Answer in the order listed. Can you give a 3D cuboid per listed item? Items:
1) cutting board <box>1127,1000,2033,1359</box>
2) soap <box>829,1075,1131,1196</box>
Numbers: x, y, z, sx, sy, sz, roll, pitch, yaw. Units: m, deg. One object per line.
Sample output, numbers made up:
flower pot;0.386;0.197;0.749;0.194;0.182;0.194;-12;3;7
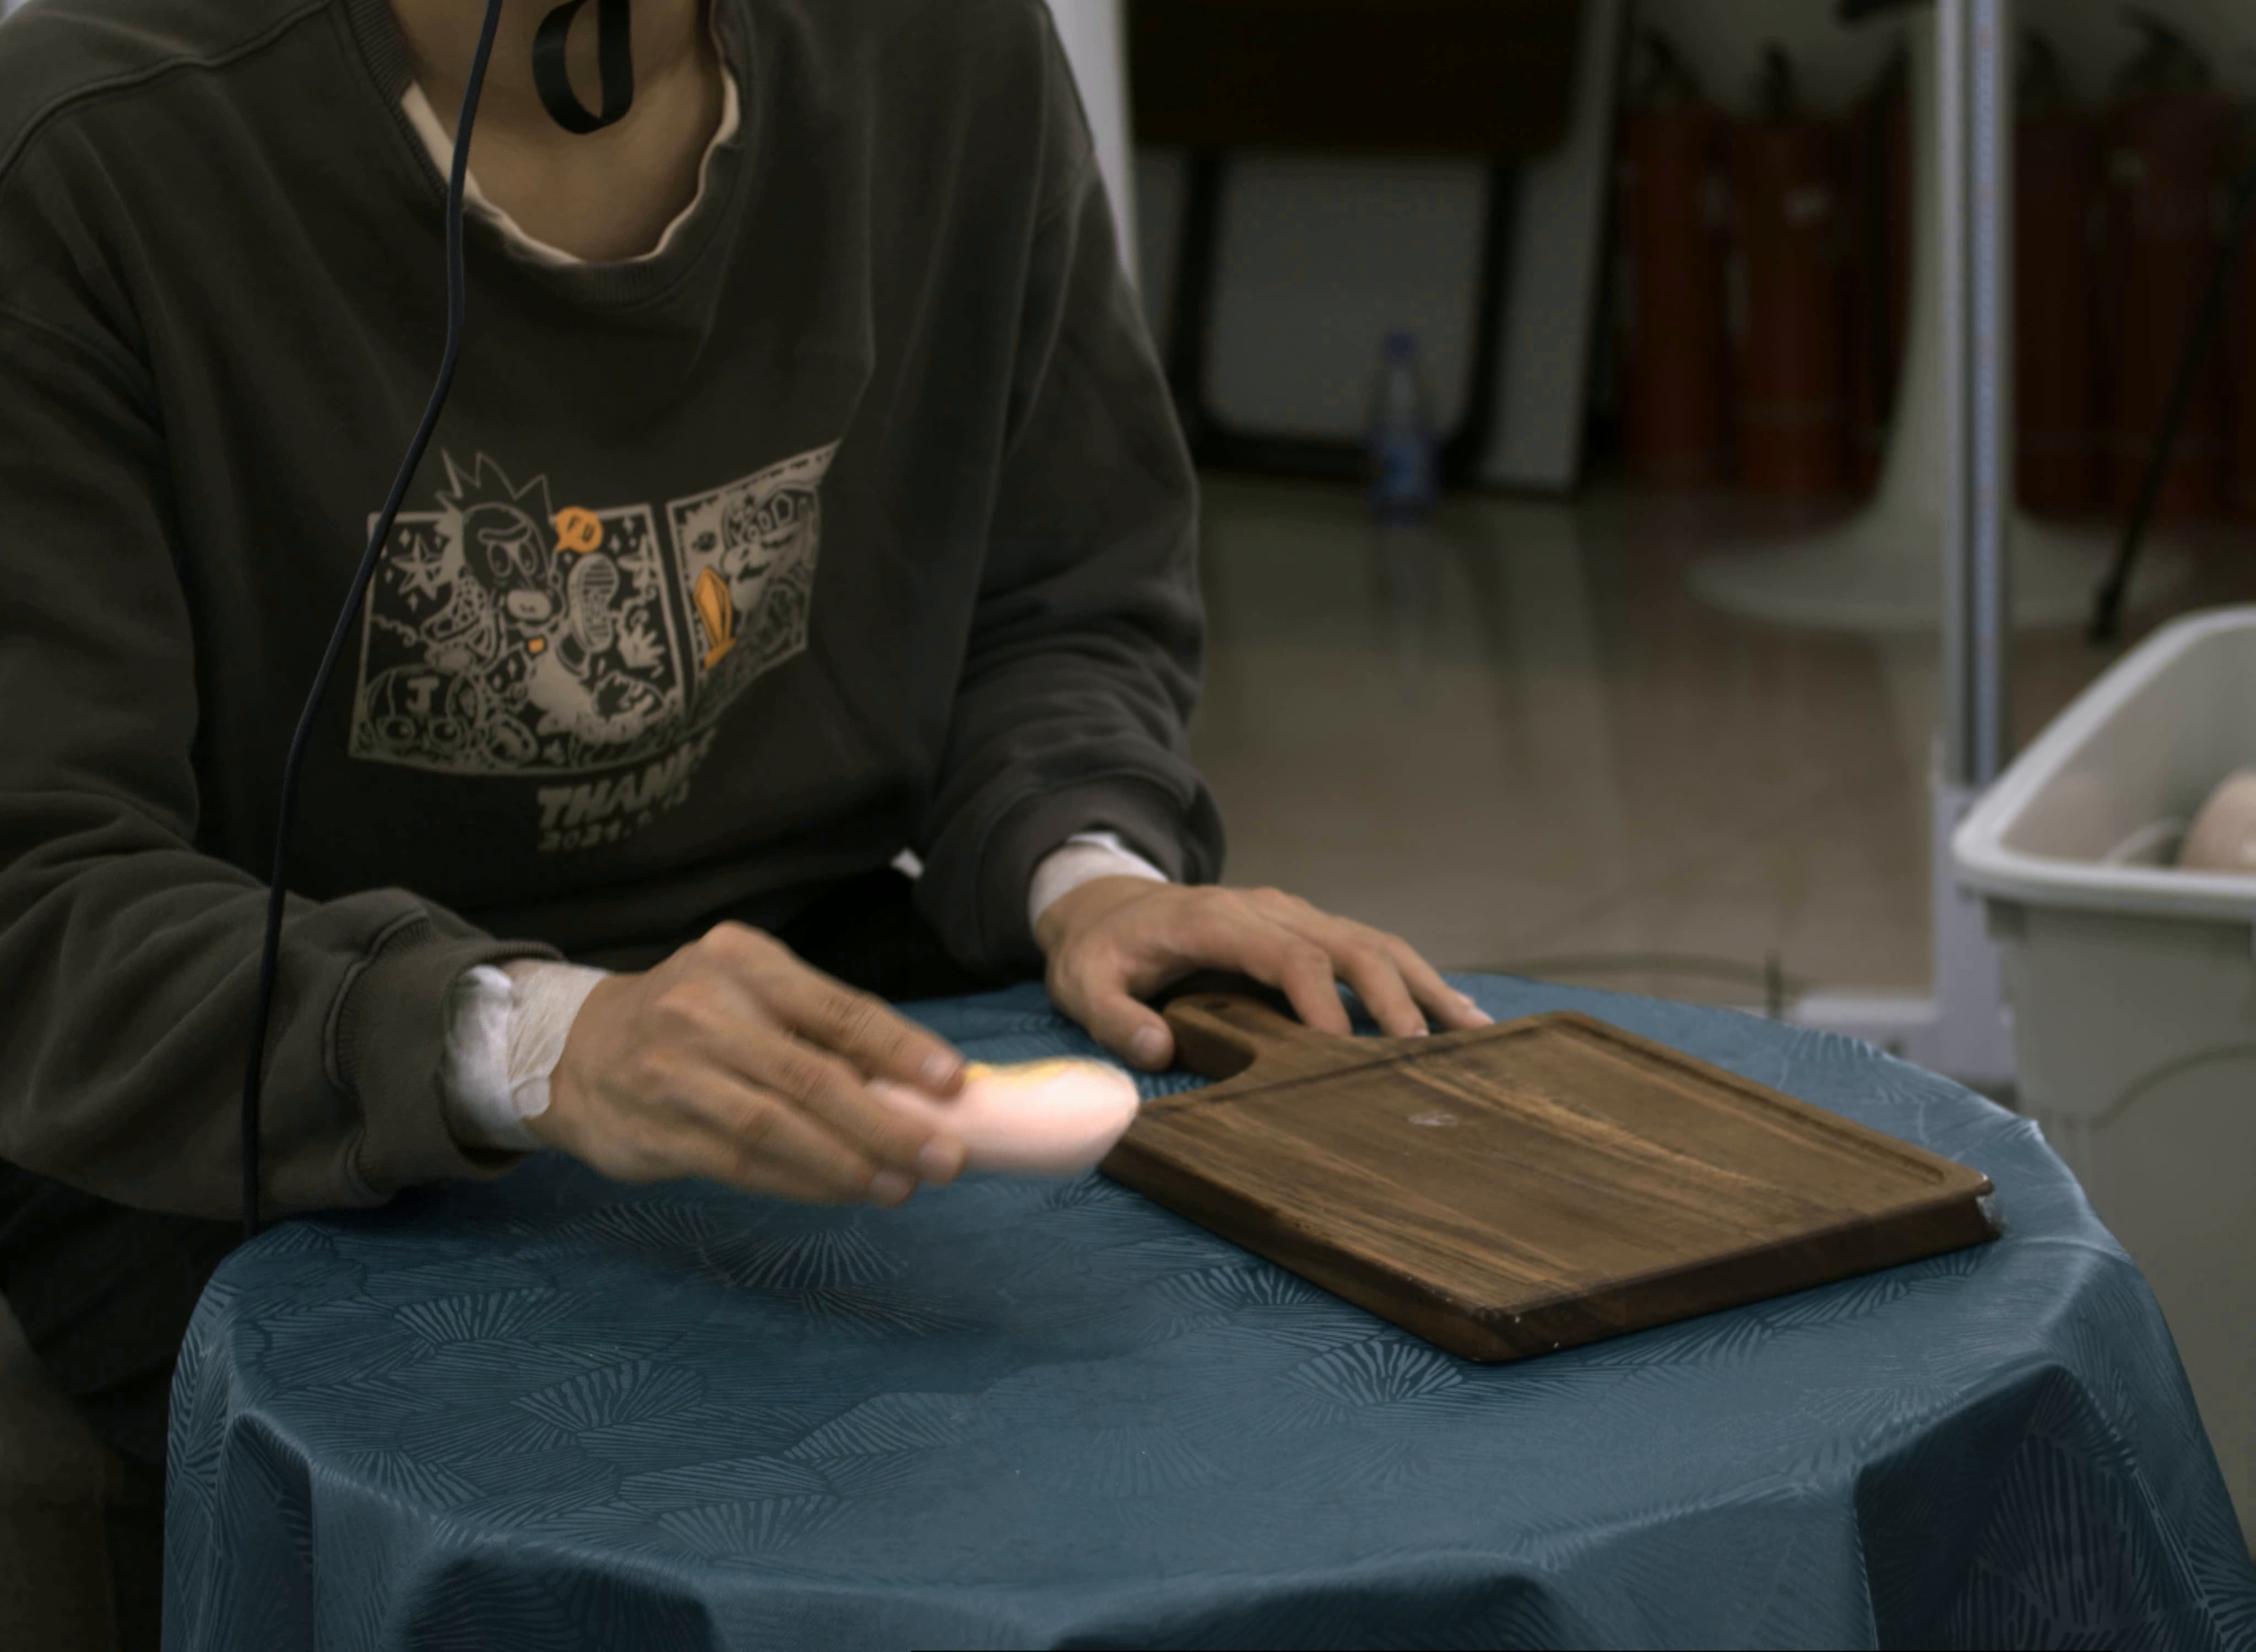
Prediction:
cutting board;0.118;0.103;1.774;0.196;0.023;0.356;-10;15;-25
soap;-0.045;0.095;1.651;0.094;0.030;0.050;-3;15;25
